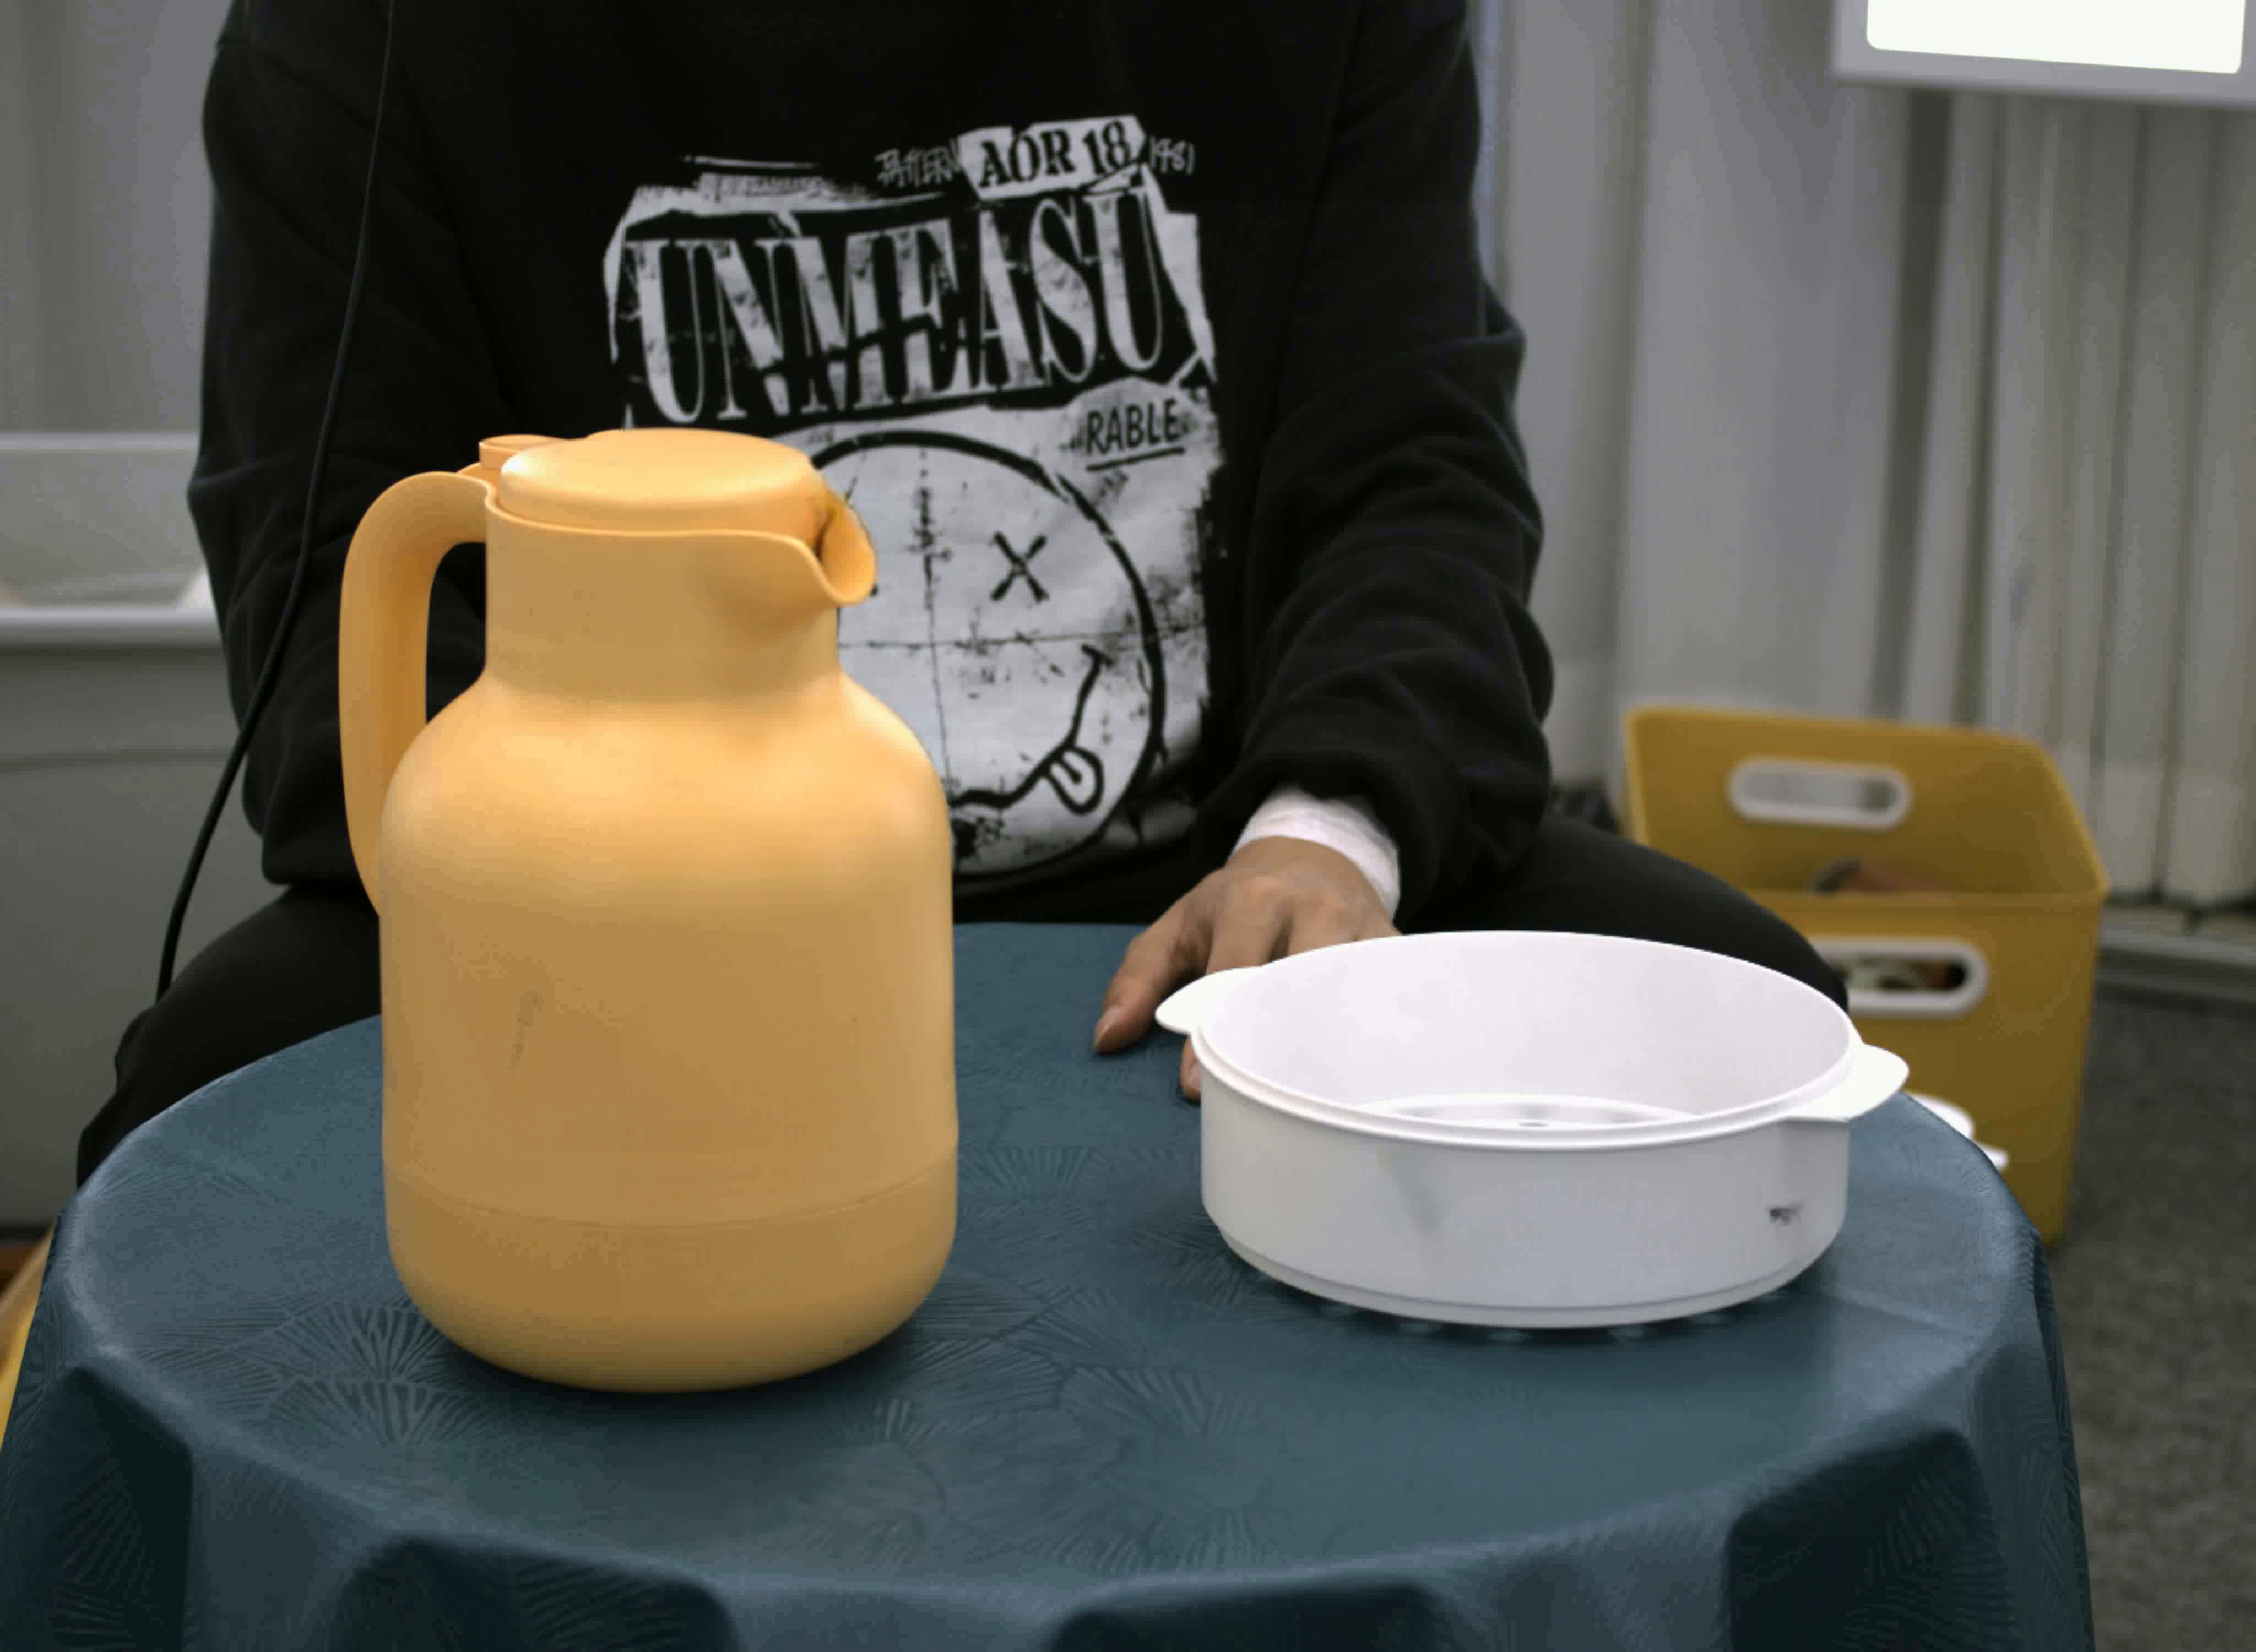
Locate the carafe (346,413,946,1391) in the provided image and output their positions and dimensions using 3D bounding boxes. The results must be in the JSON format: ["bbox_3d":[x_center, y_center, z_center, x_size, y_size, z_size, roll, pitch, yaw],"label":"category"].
[{"bbox_3d":[-0.144,0.013,1.483,0.199,0.262,0.164,17,20,40],"label":"carafe"}]

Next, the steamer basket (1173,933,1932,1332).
[{"bbox_3d":[0.123,0.091,1.576,0.228,0.070,0.202,10,17,22],"label":"steamer basket"}]
